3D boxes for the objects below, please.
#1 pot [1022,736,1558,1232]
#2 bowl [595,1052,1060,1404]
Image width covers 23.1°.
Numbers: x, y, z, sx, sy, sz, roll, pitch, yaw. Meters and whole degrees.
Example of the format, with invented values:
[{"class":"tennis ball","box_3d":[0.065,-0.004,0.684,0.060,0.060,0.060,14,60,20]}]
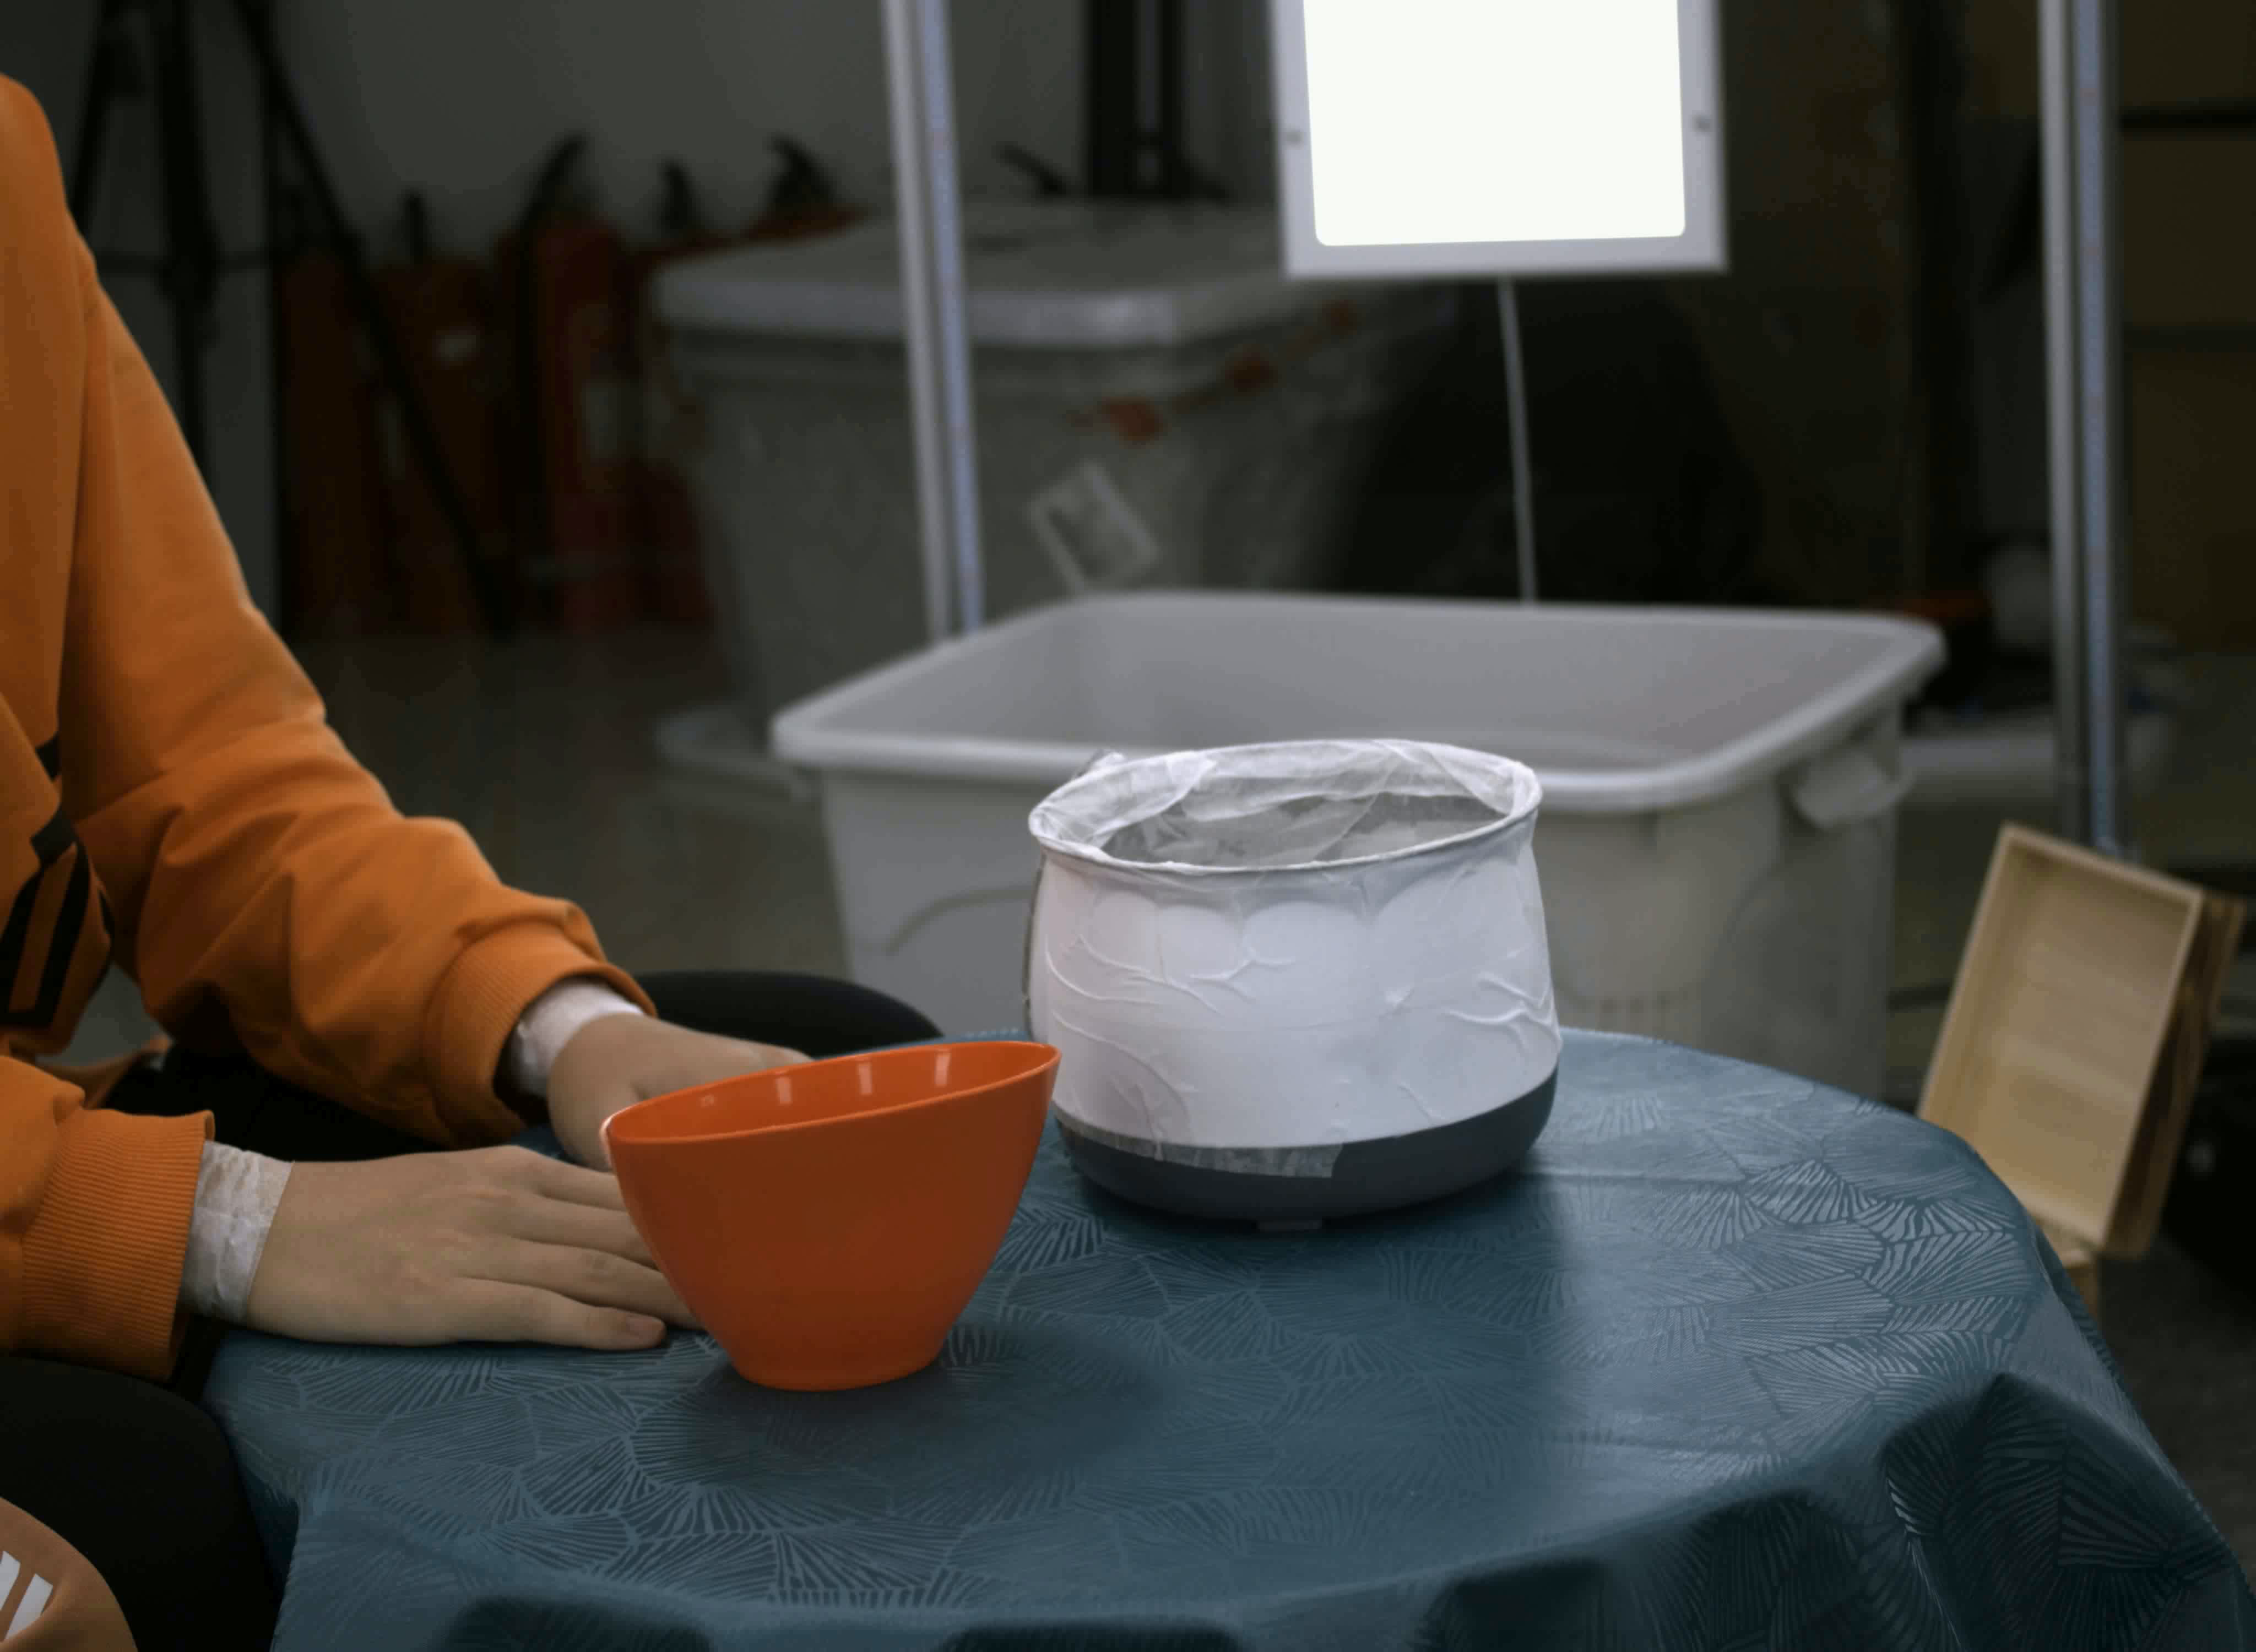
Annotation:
[{"class":"pot","box_3d":[0.041,0.049,1.911,0.174,0.137,0.238,-15,17,-36]},{"class":"bowl","box_3d":[-0.091,0.125,1.735,0.147,0.105,0.148,-5,12,0]}]
